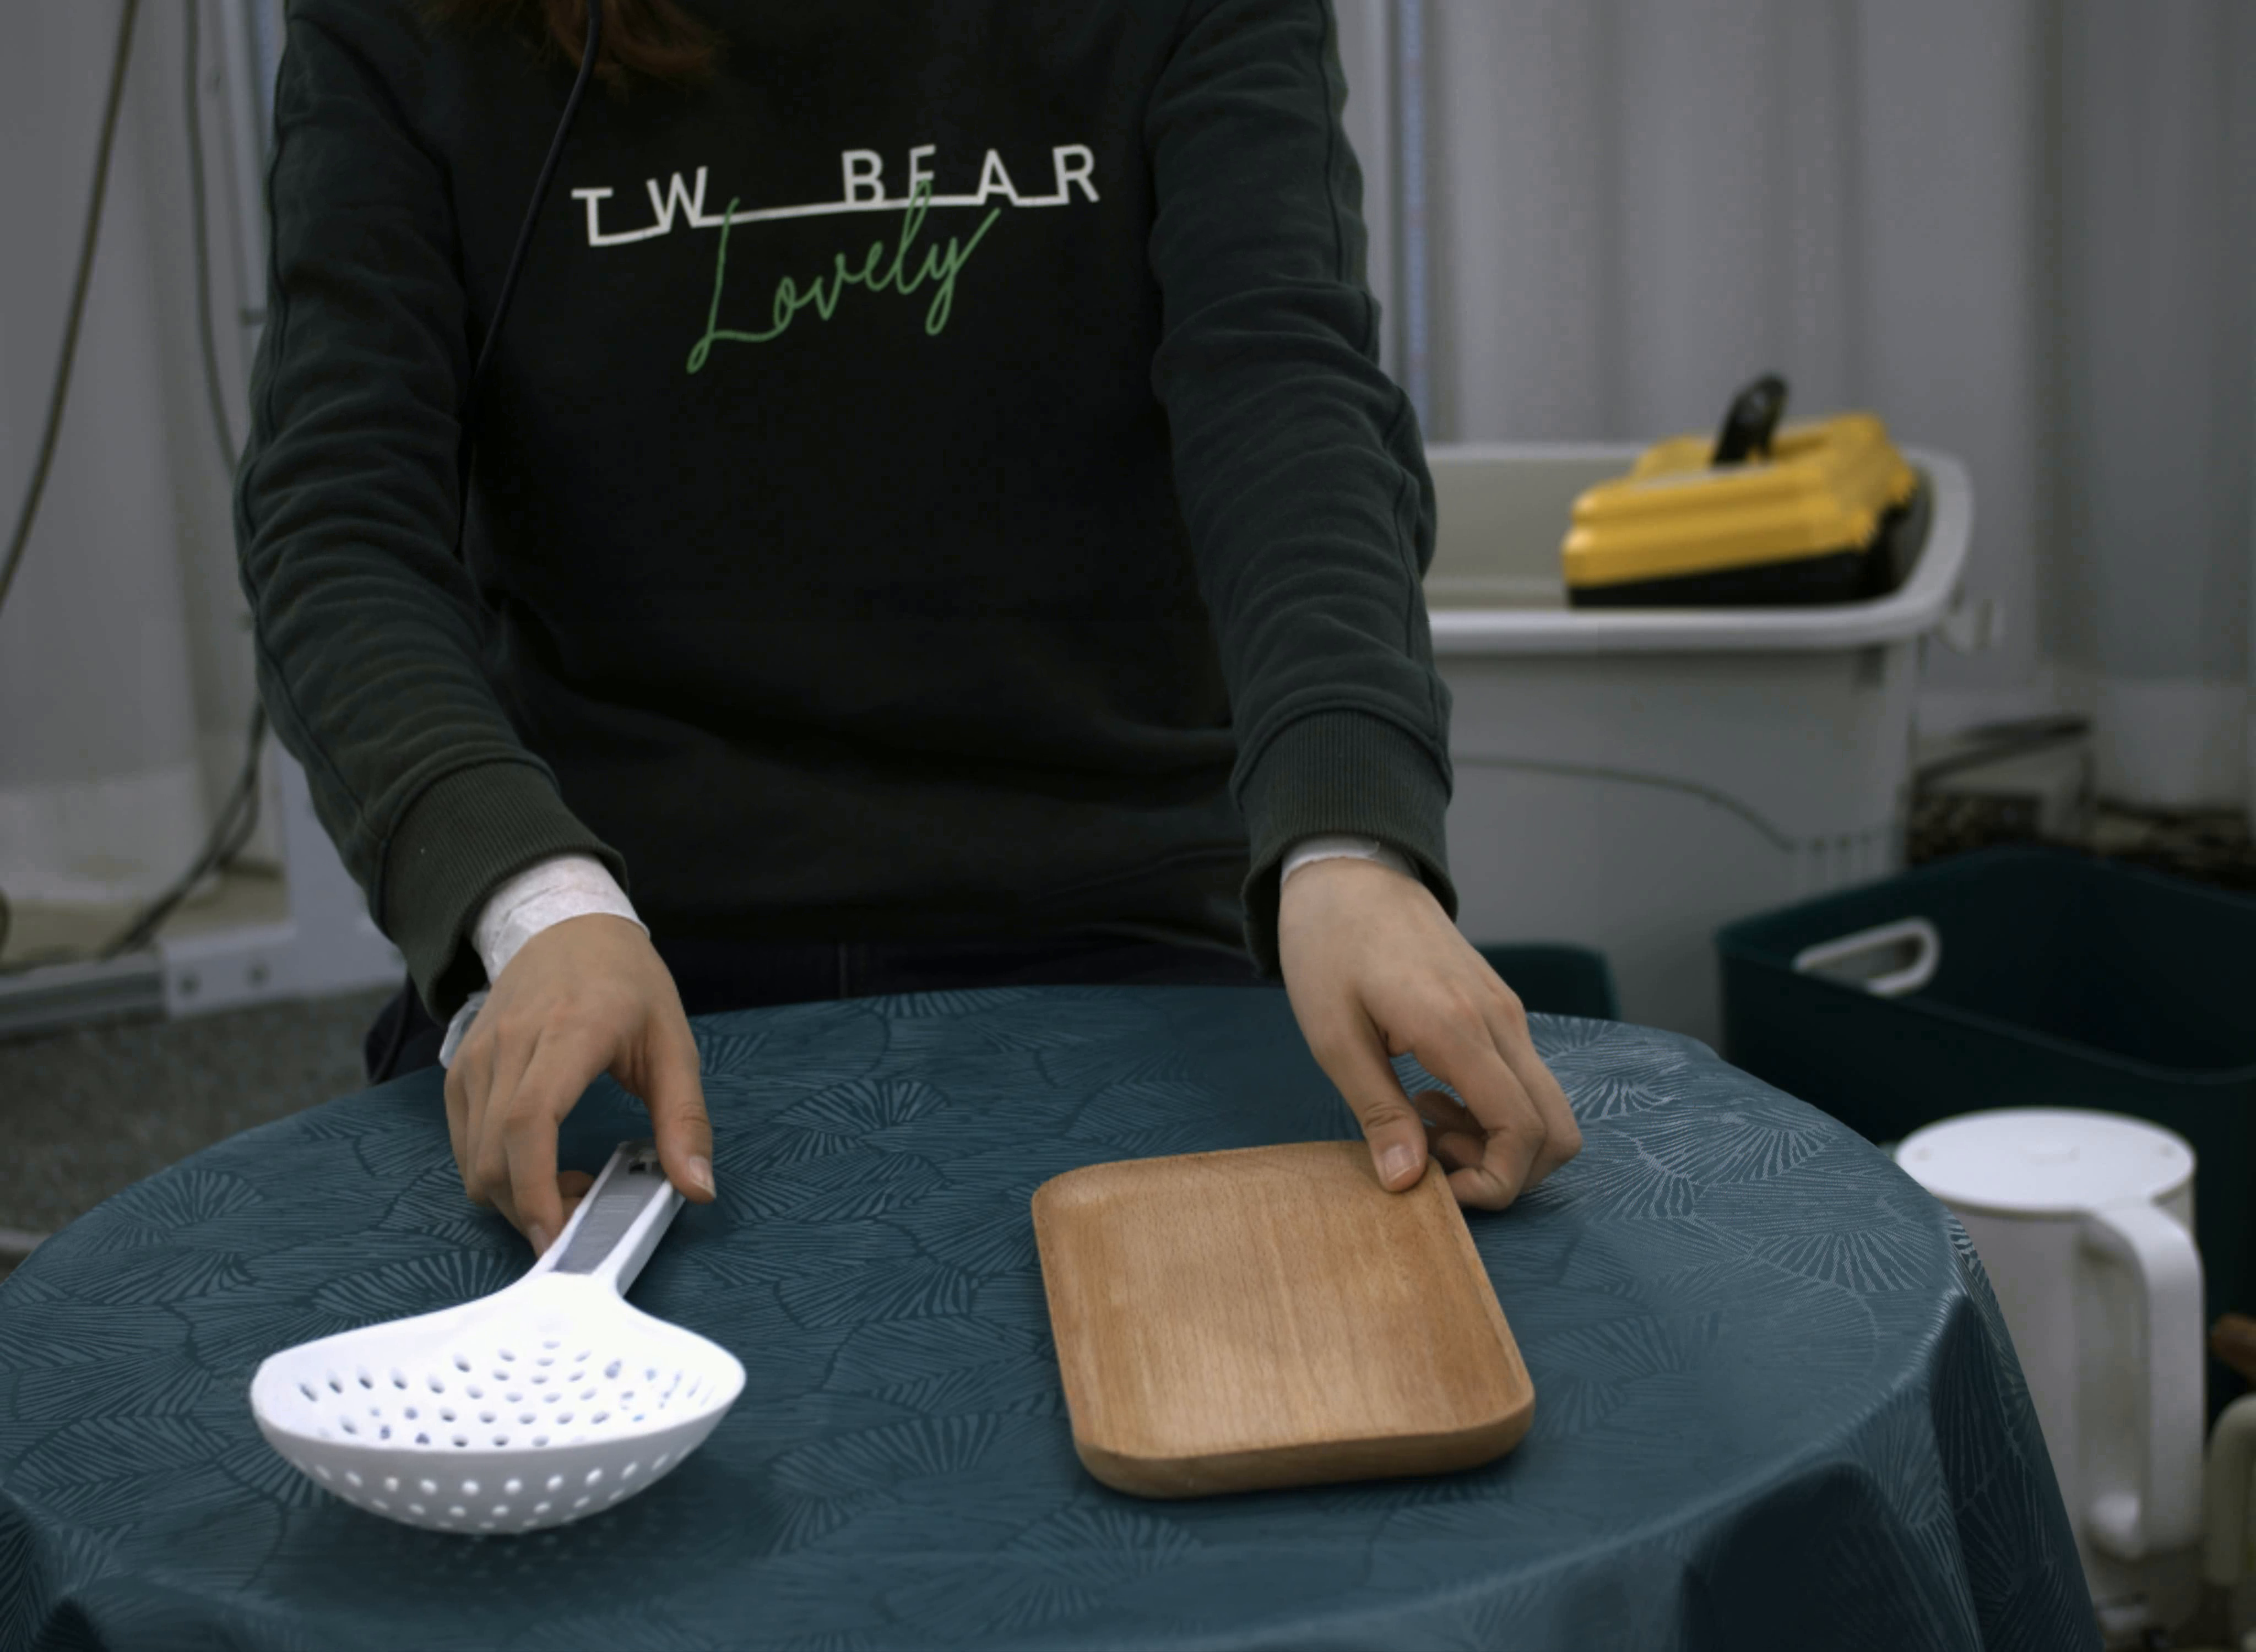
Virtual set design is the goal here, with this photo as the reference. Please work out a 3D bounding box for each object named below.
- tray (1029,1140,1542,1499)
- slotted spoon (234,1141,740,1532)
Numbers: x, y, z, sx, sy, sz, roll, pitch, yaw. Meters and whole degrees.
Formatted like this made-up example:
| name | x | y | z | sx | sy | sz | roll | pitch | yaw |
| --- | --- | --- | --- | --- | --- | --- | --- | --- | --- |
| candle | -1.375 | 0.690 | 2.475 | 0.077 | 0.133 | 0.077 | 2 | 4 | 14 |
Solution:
| name | x | y | z | sx | sy | sz | roll | pitch | yaw |
| --- | --- | --- | --- | --- | --- | --- | --- | --- | --- |
| tray | 0.041 | 0.139 | 1.578 | 0.130 | 0.023 | 0.252 | -3 | 14 | -3 |
| slotted spoon | -0.163 | 0.137 | 1.573 | 0.136 | 0.045 | 0.352 | 2 | 14 | 4 |
